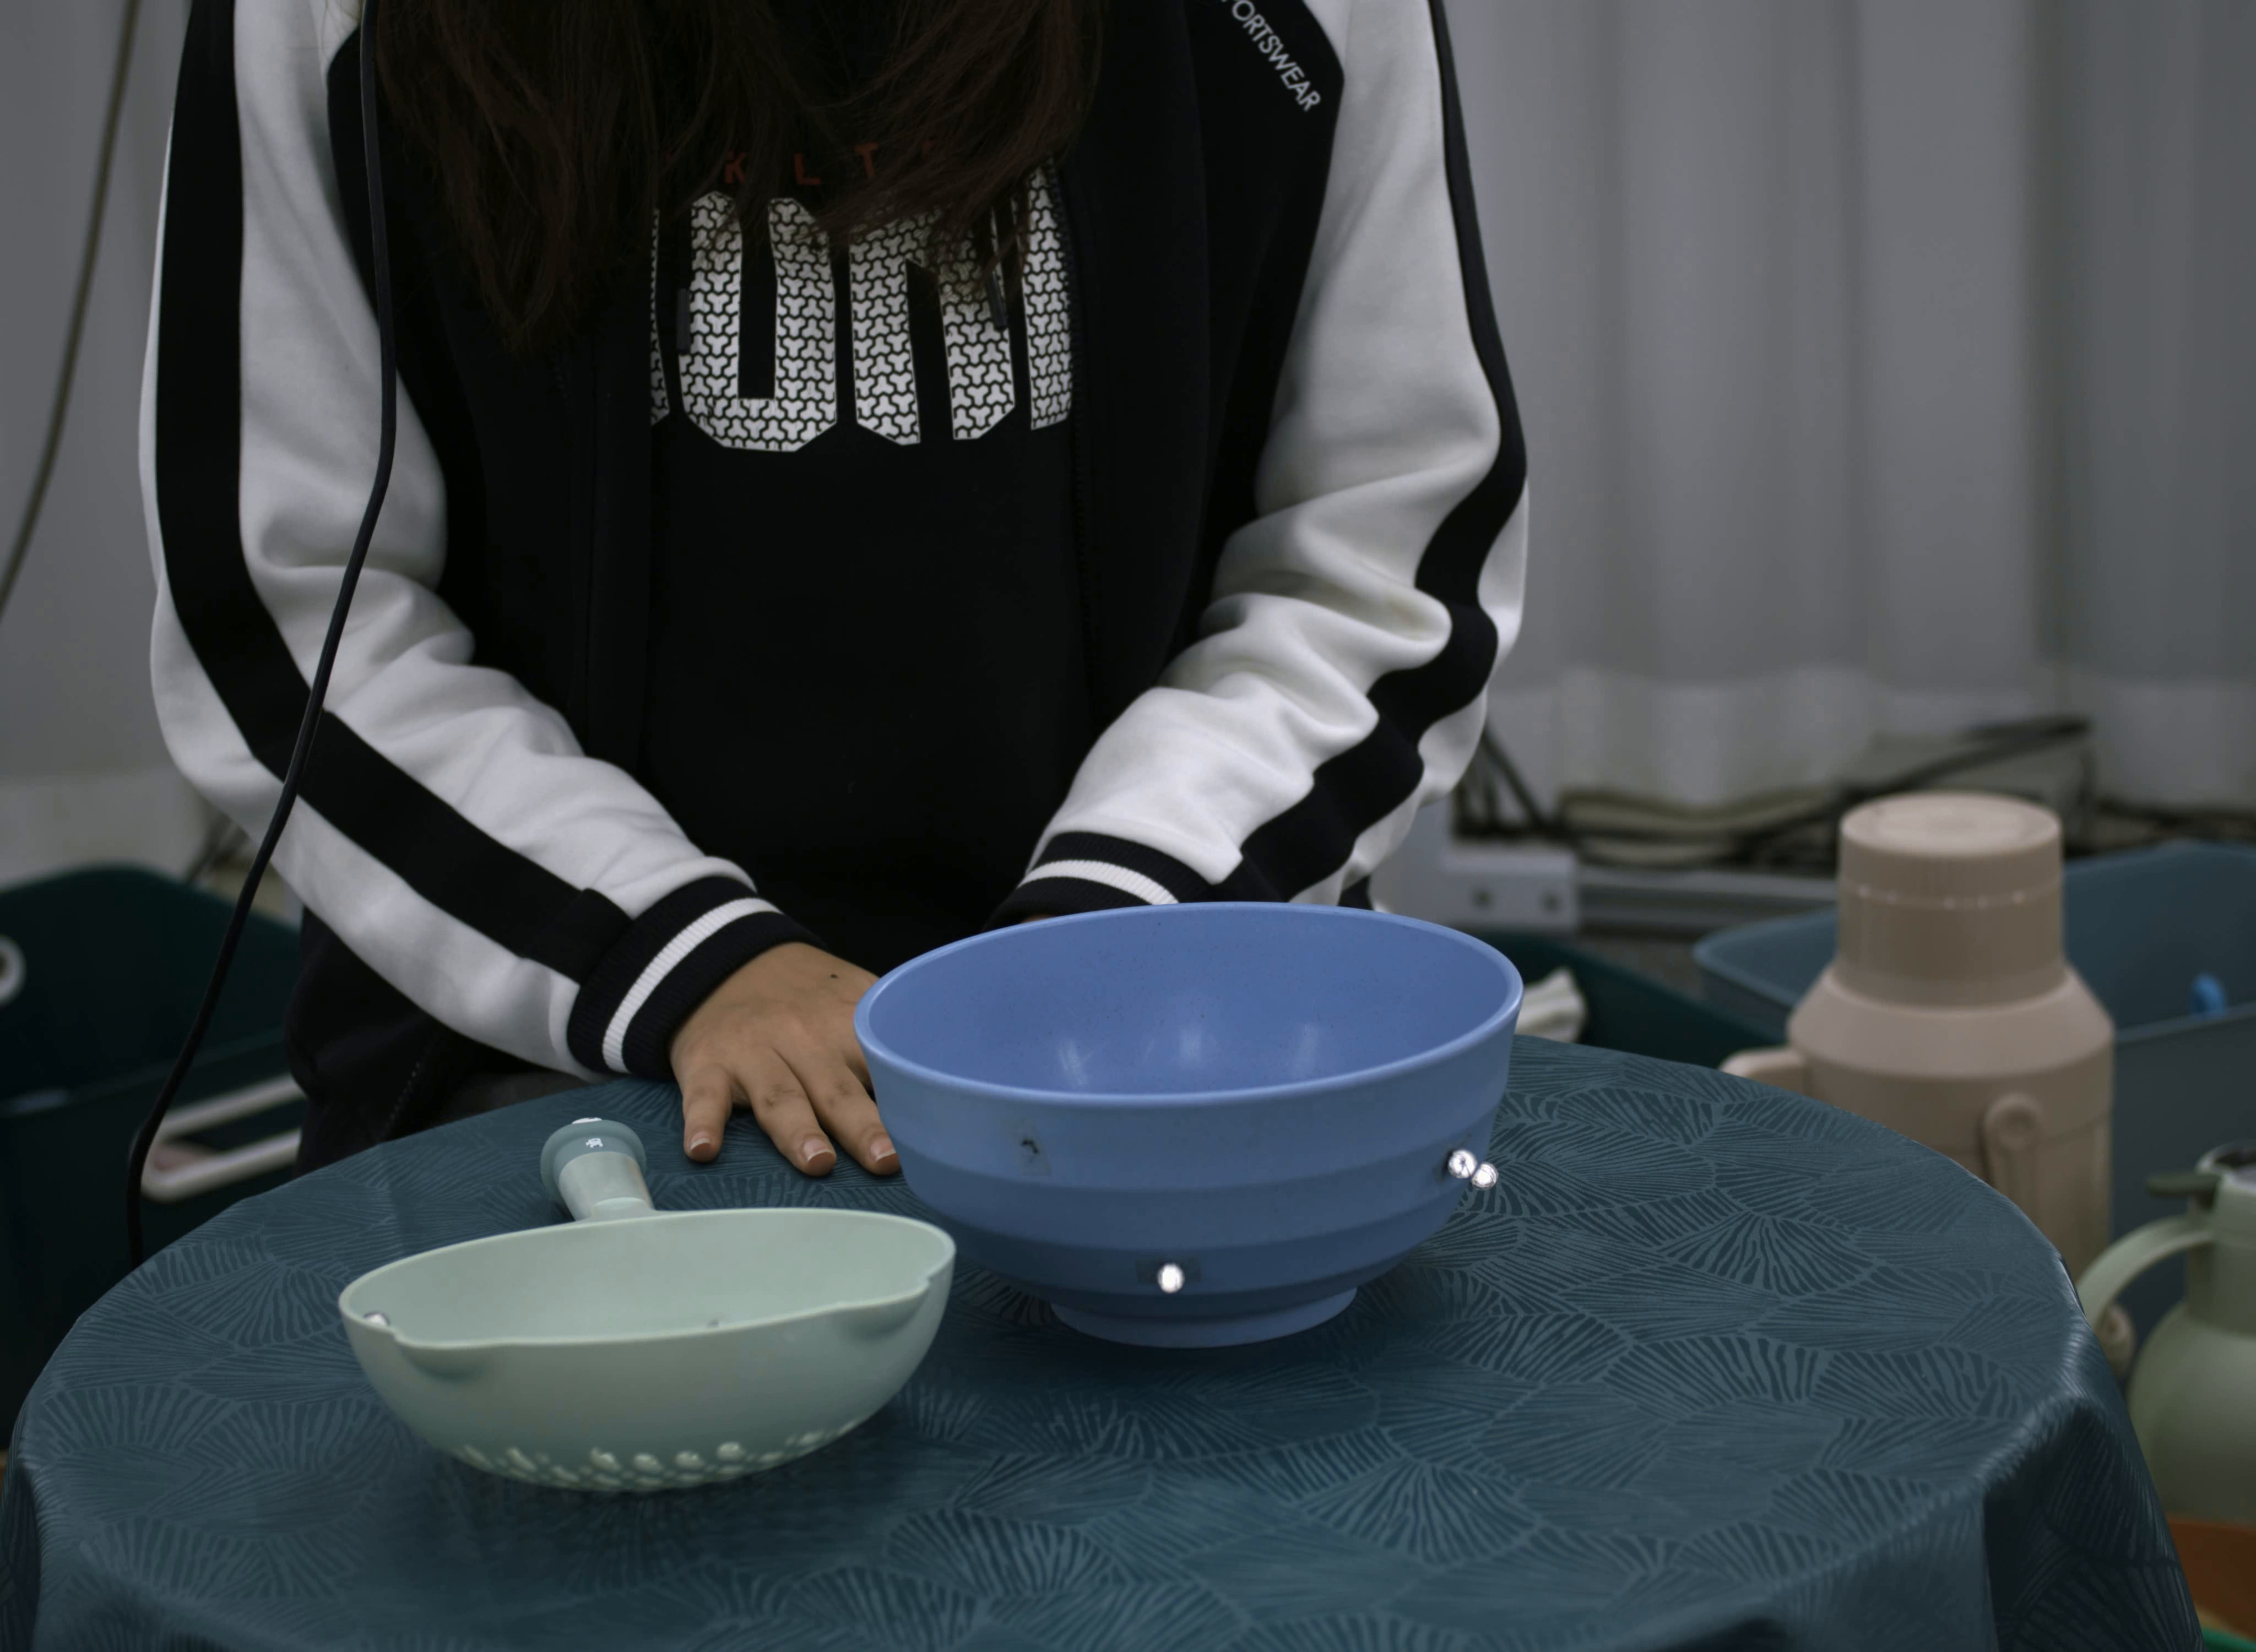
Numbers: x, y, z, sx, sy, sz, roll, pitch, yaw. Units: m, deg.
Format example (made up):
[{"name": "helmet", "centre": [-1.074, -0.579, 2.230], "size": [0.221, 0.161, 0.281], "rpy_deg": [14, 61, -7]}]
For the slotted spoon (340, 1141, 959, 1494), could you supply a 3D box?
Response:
[{"name": "slotted spoon", "centre": [-0.145, 0.126, 1.587], "size": [0.168, 0.075, 0.361], "rpy_deg": [-4, 13, -9]}]

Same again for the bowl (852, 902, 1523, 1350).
[{"name": "bowl", "centre": [0.020, 0.094, 1.606], "size": [0.196, 0.095, 0.198], "rpy_deg": [-3, 15, 1]}]
